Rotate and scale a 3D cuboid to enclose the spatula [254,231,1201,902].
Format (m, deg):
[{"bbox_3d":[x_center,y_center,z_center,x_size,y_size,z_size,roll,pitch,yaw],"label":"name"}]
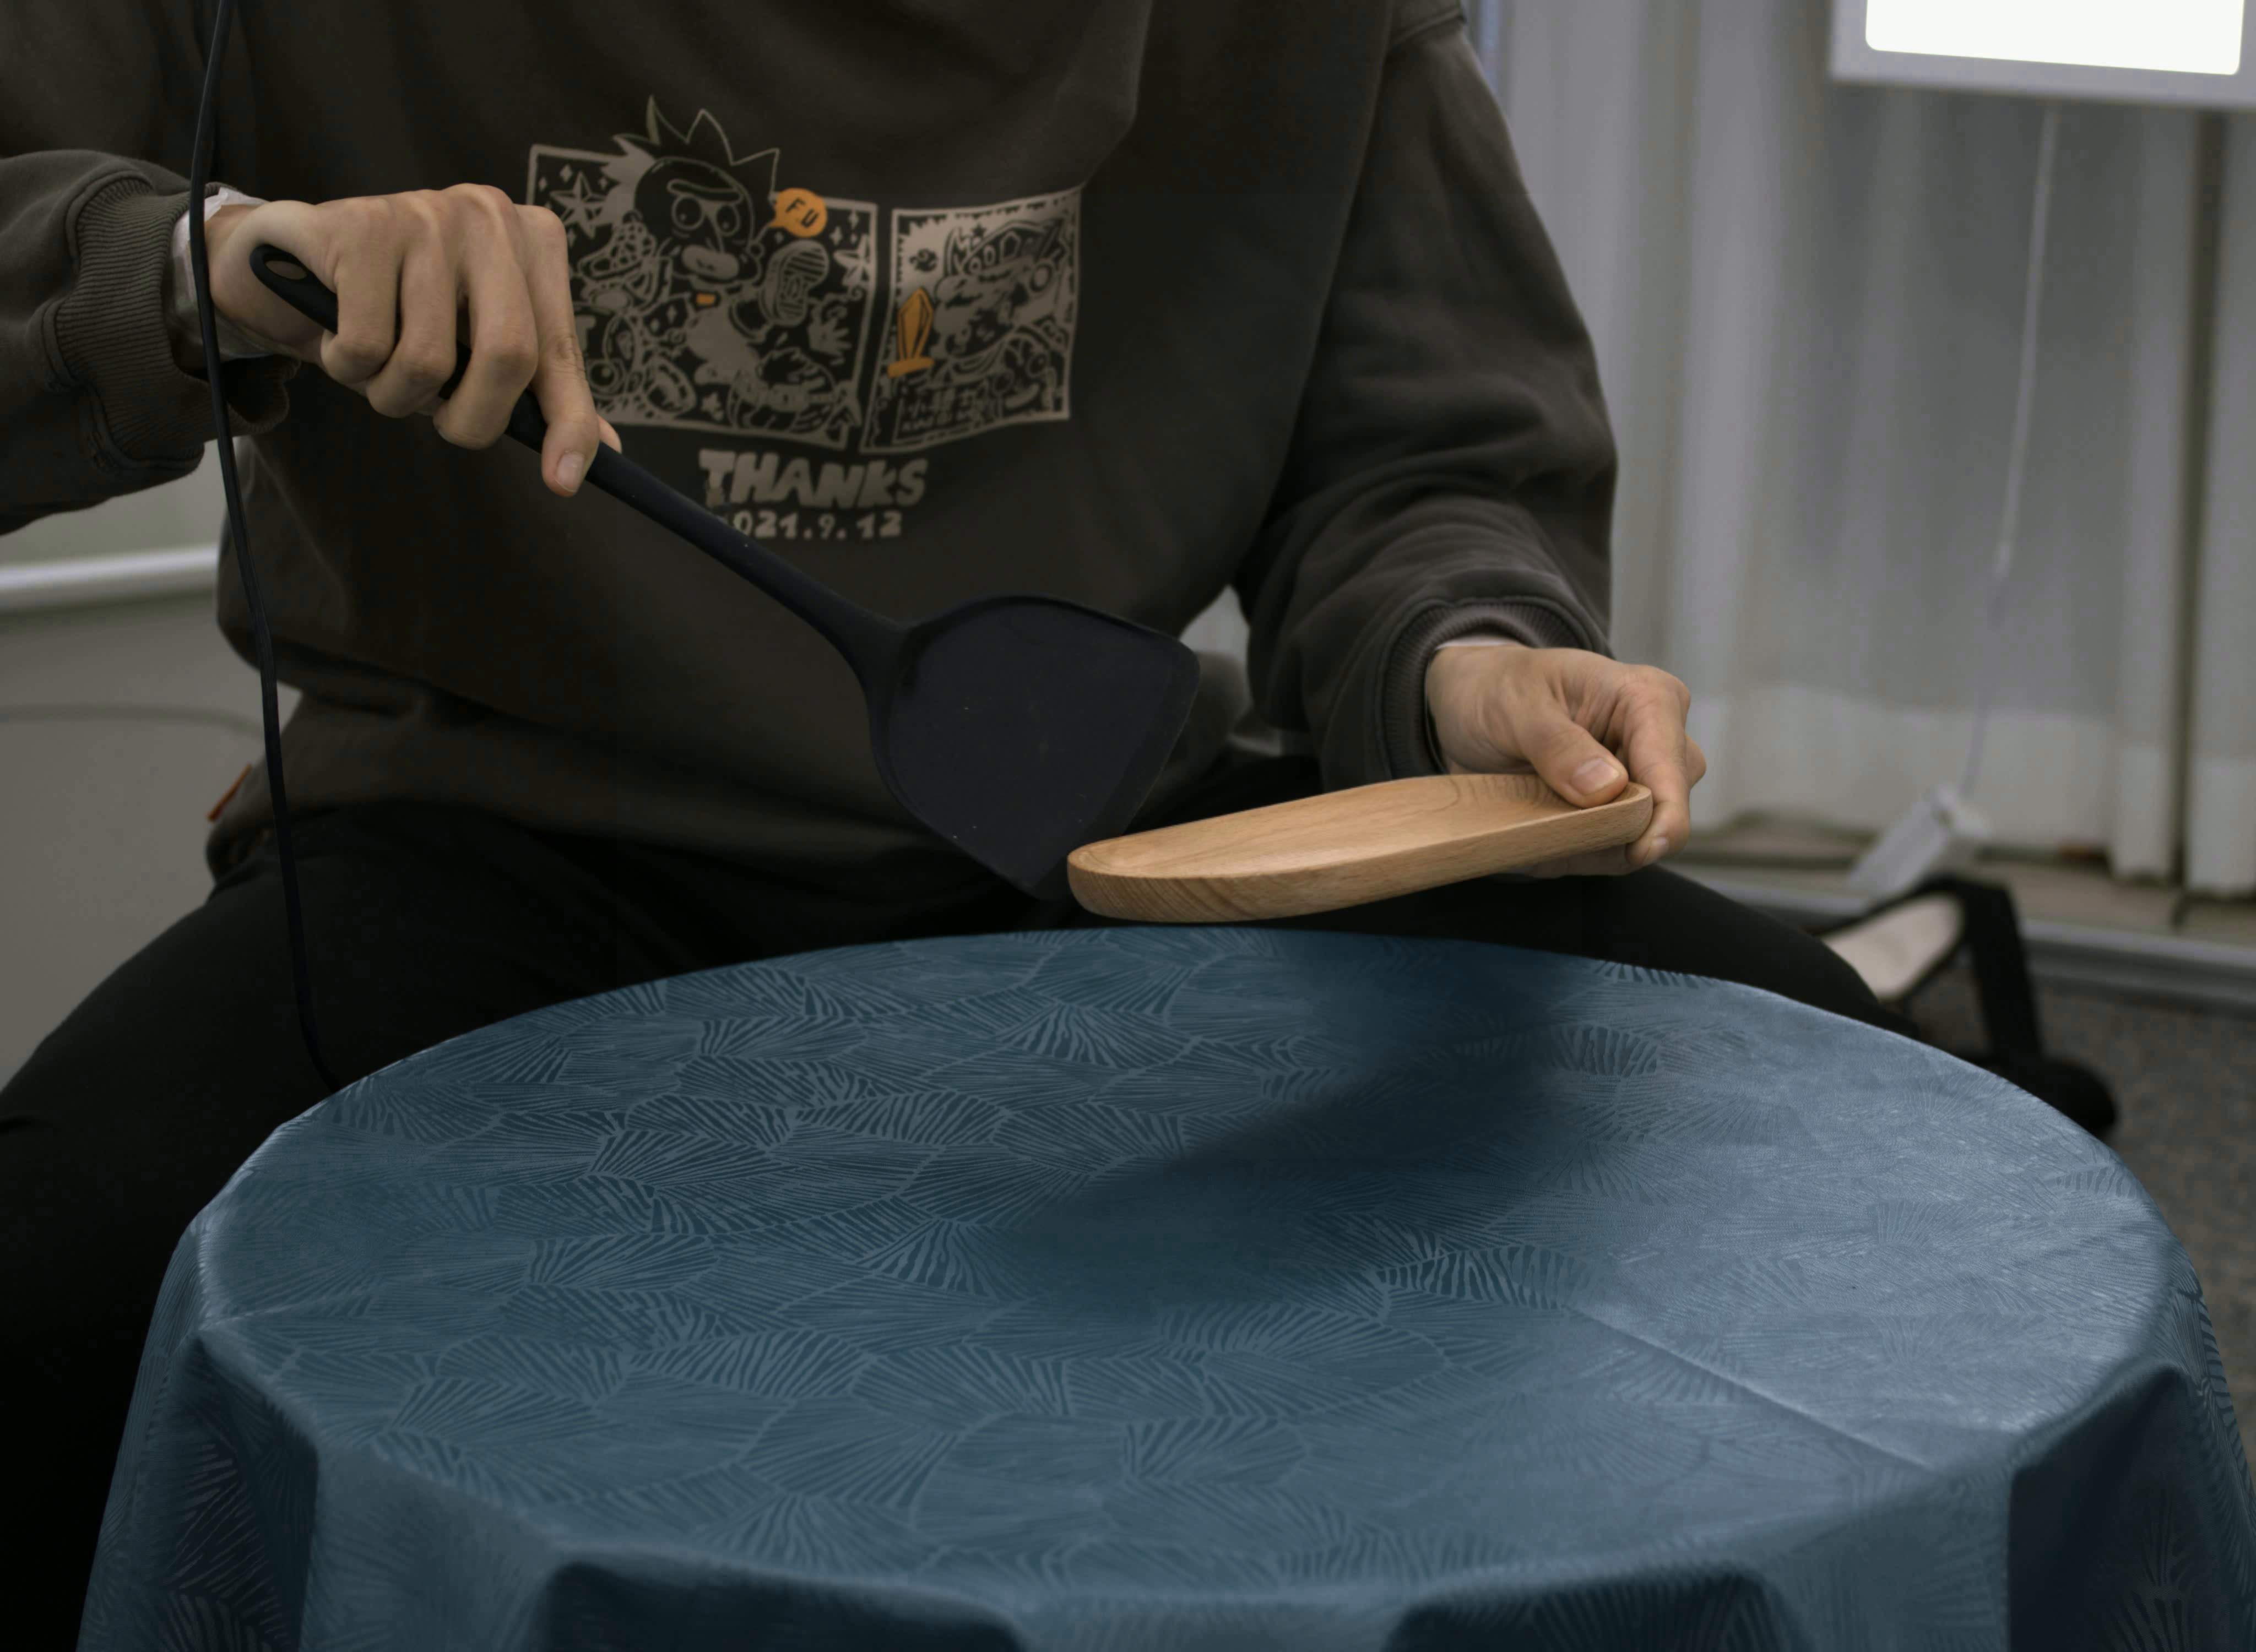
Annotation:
[{"bbox_3d":[-0.133,-0.096,1.646,0.327,0.099,0.040,34,-18,-8],"label":"spatula"}]

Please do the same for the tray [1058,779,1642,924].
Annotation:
[{"bbox_3d":[0.073,0.007,1.658,0.100,0.020,0.232,4,11,41],"label":"tray"}]
